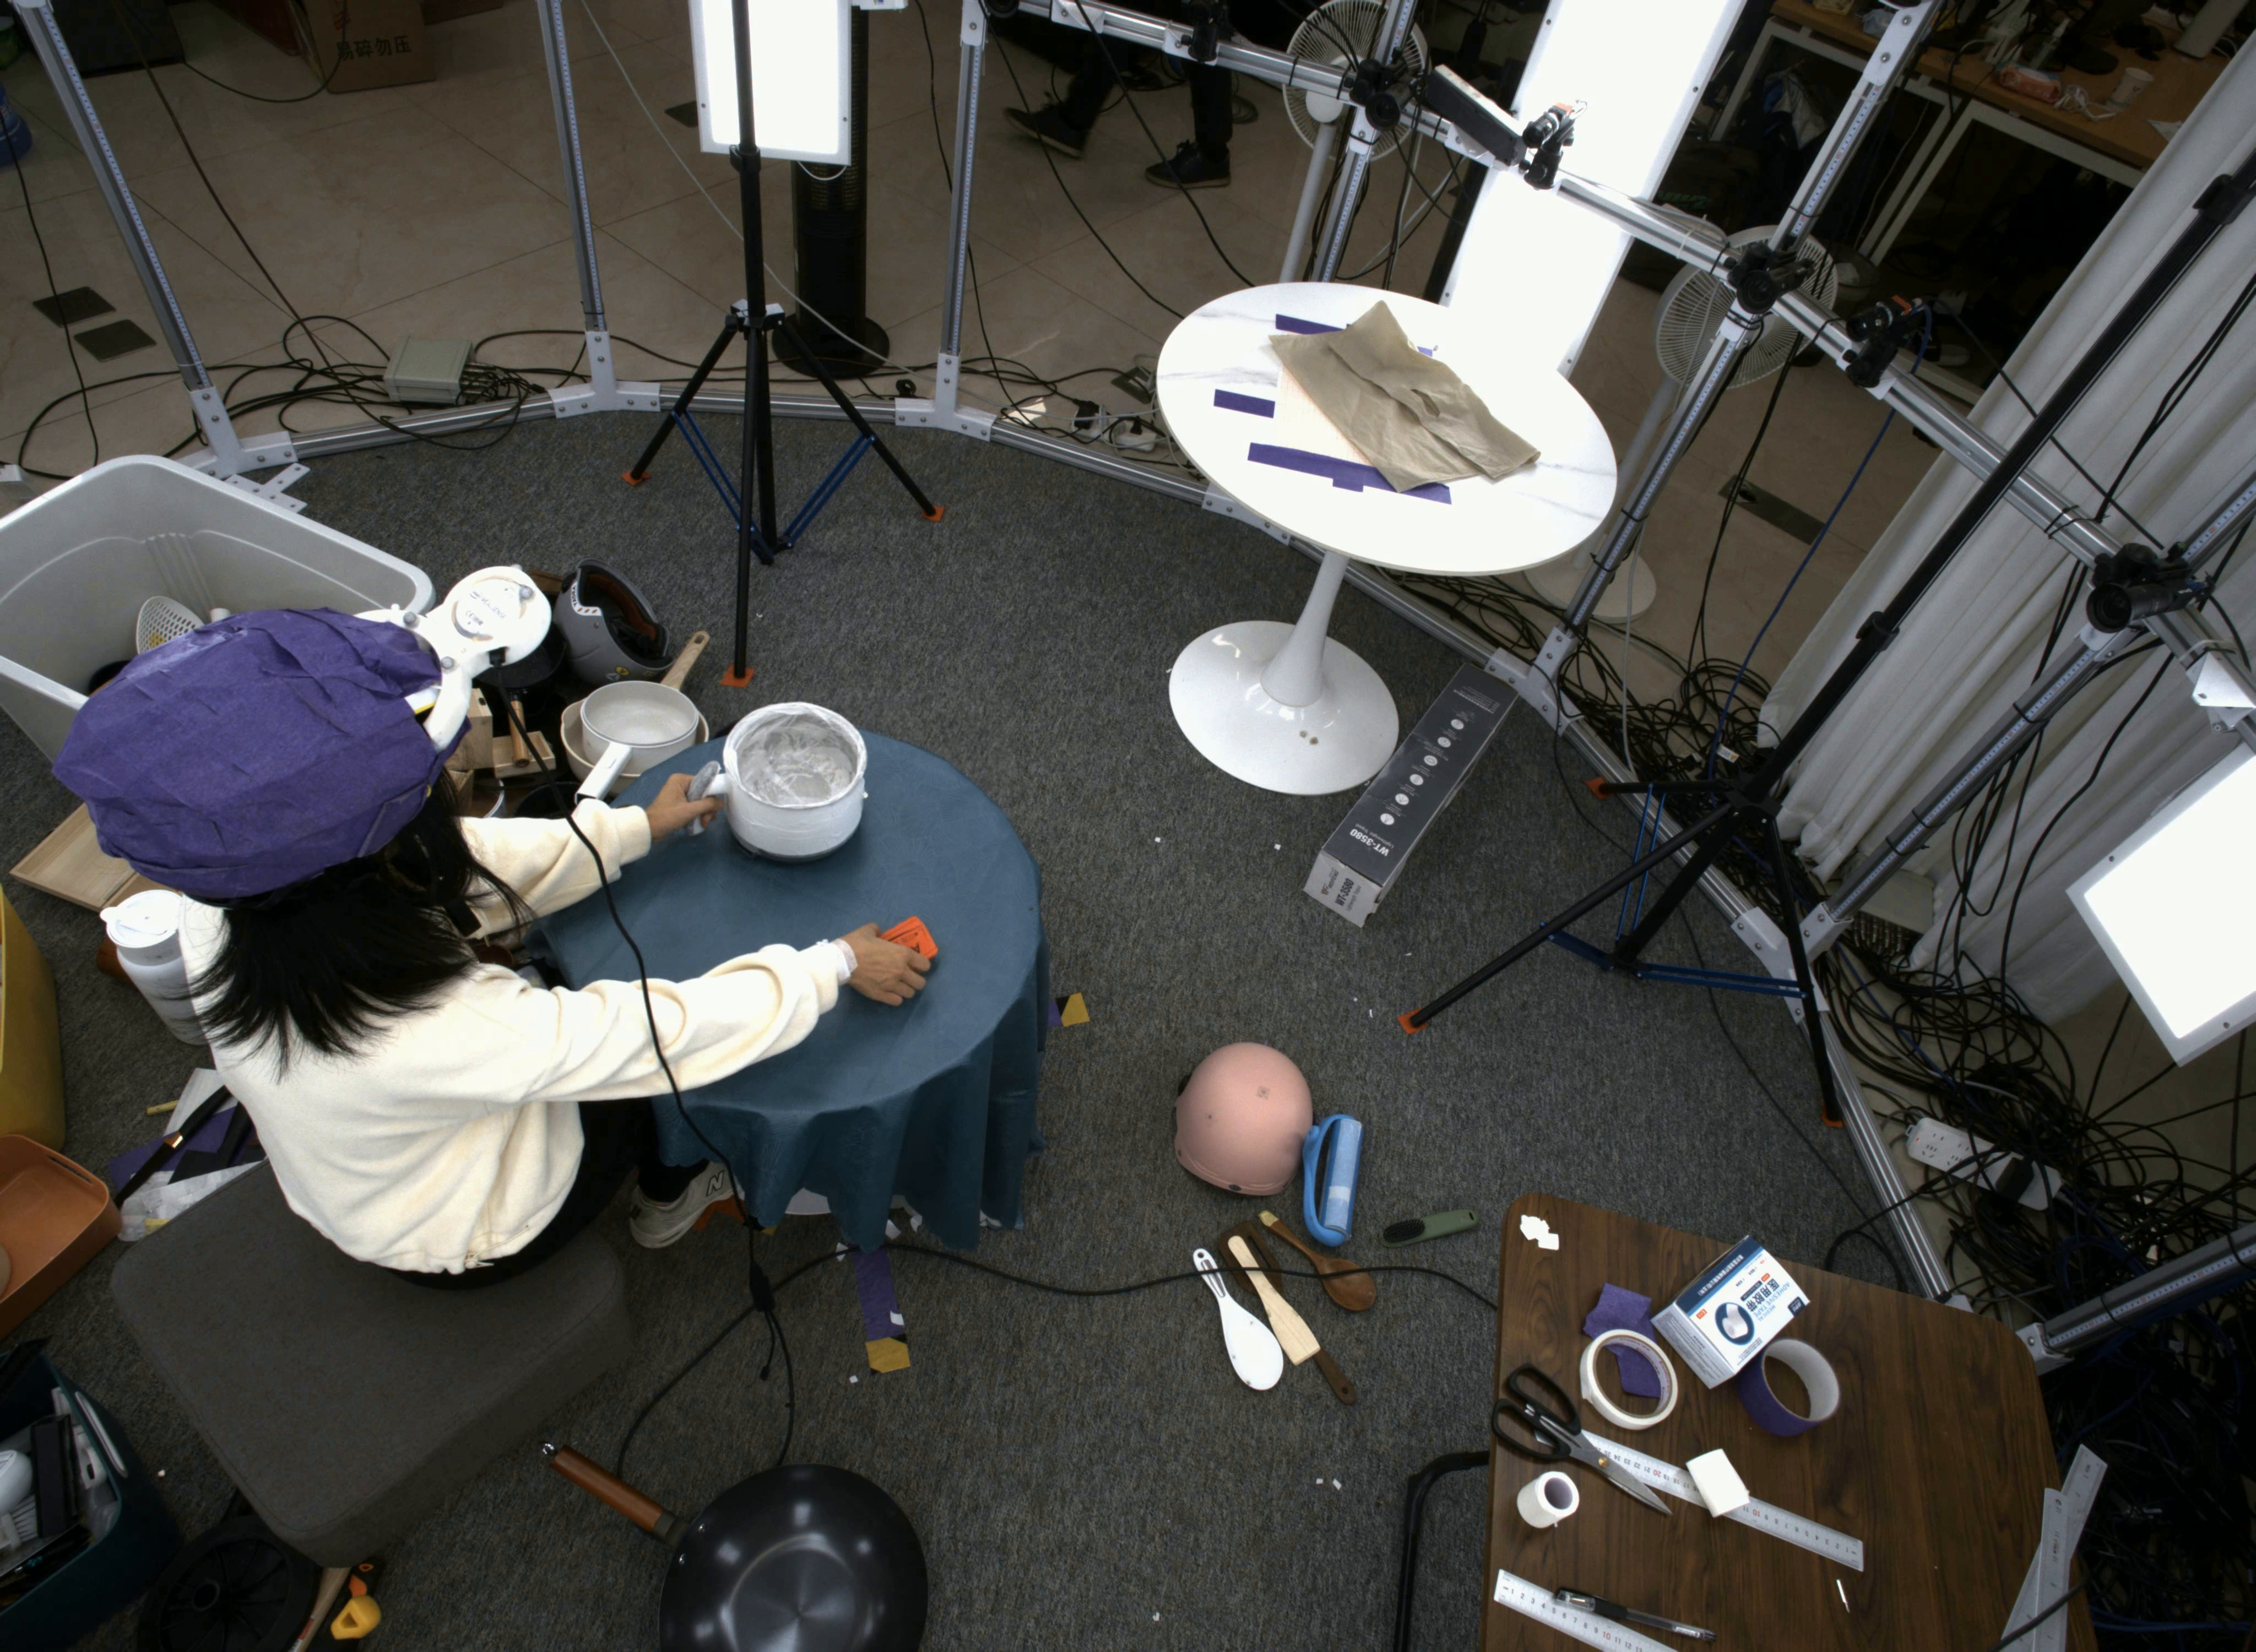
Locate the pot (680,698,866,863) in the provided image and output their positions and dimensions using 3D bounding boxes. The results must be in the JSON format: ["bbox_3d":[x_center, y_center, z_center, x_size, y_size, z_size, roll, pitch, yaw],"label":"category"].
[{"bbox_3d":[-0.455,-0.049,1.654,0.235,0.139,0.174,-12,57,-26],"label":"pot"}]

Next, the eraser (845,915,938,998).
[{"bbox_3d":[-0.292,0.159,1.606,0.108,0.023,0.059,-33,83,-29],"label":"eraser"}]
